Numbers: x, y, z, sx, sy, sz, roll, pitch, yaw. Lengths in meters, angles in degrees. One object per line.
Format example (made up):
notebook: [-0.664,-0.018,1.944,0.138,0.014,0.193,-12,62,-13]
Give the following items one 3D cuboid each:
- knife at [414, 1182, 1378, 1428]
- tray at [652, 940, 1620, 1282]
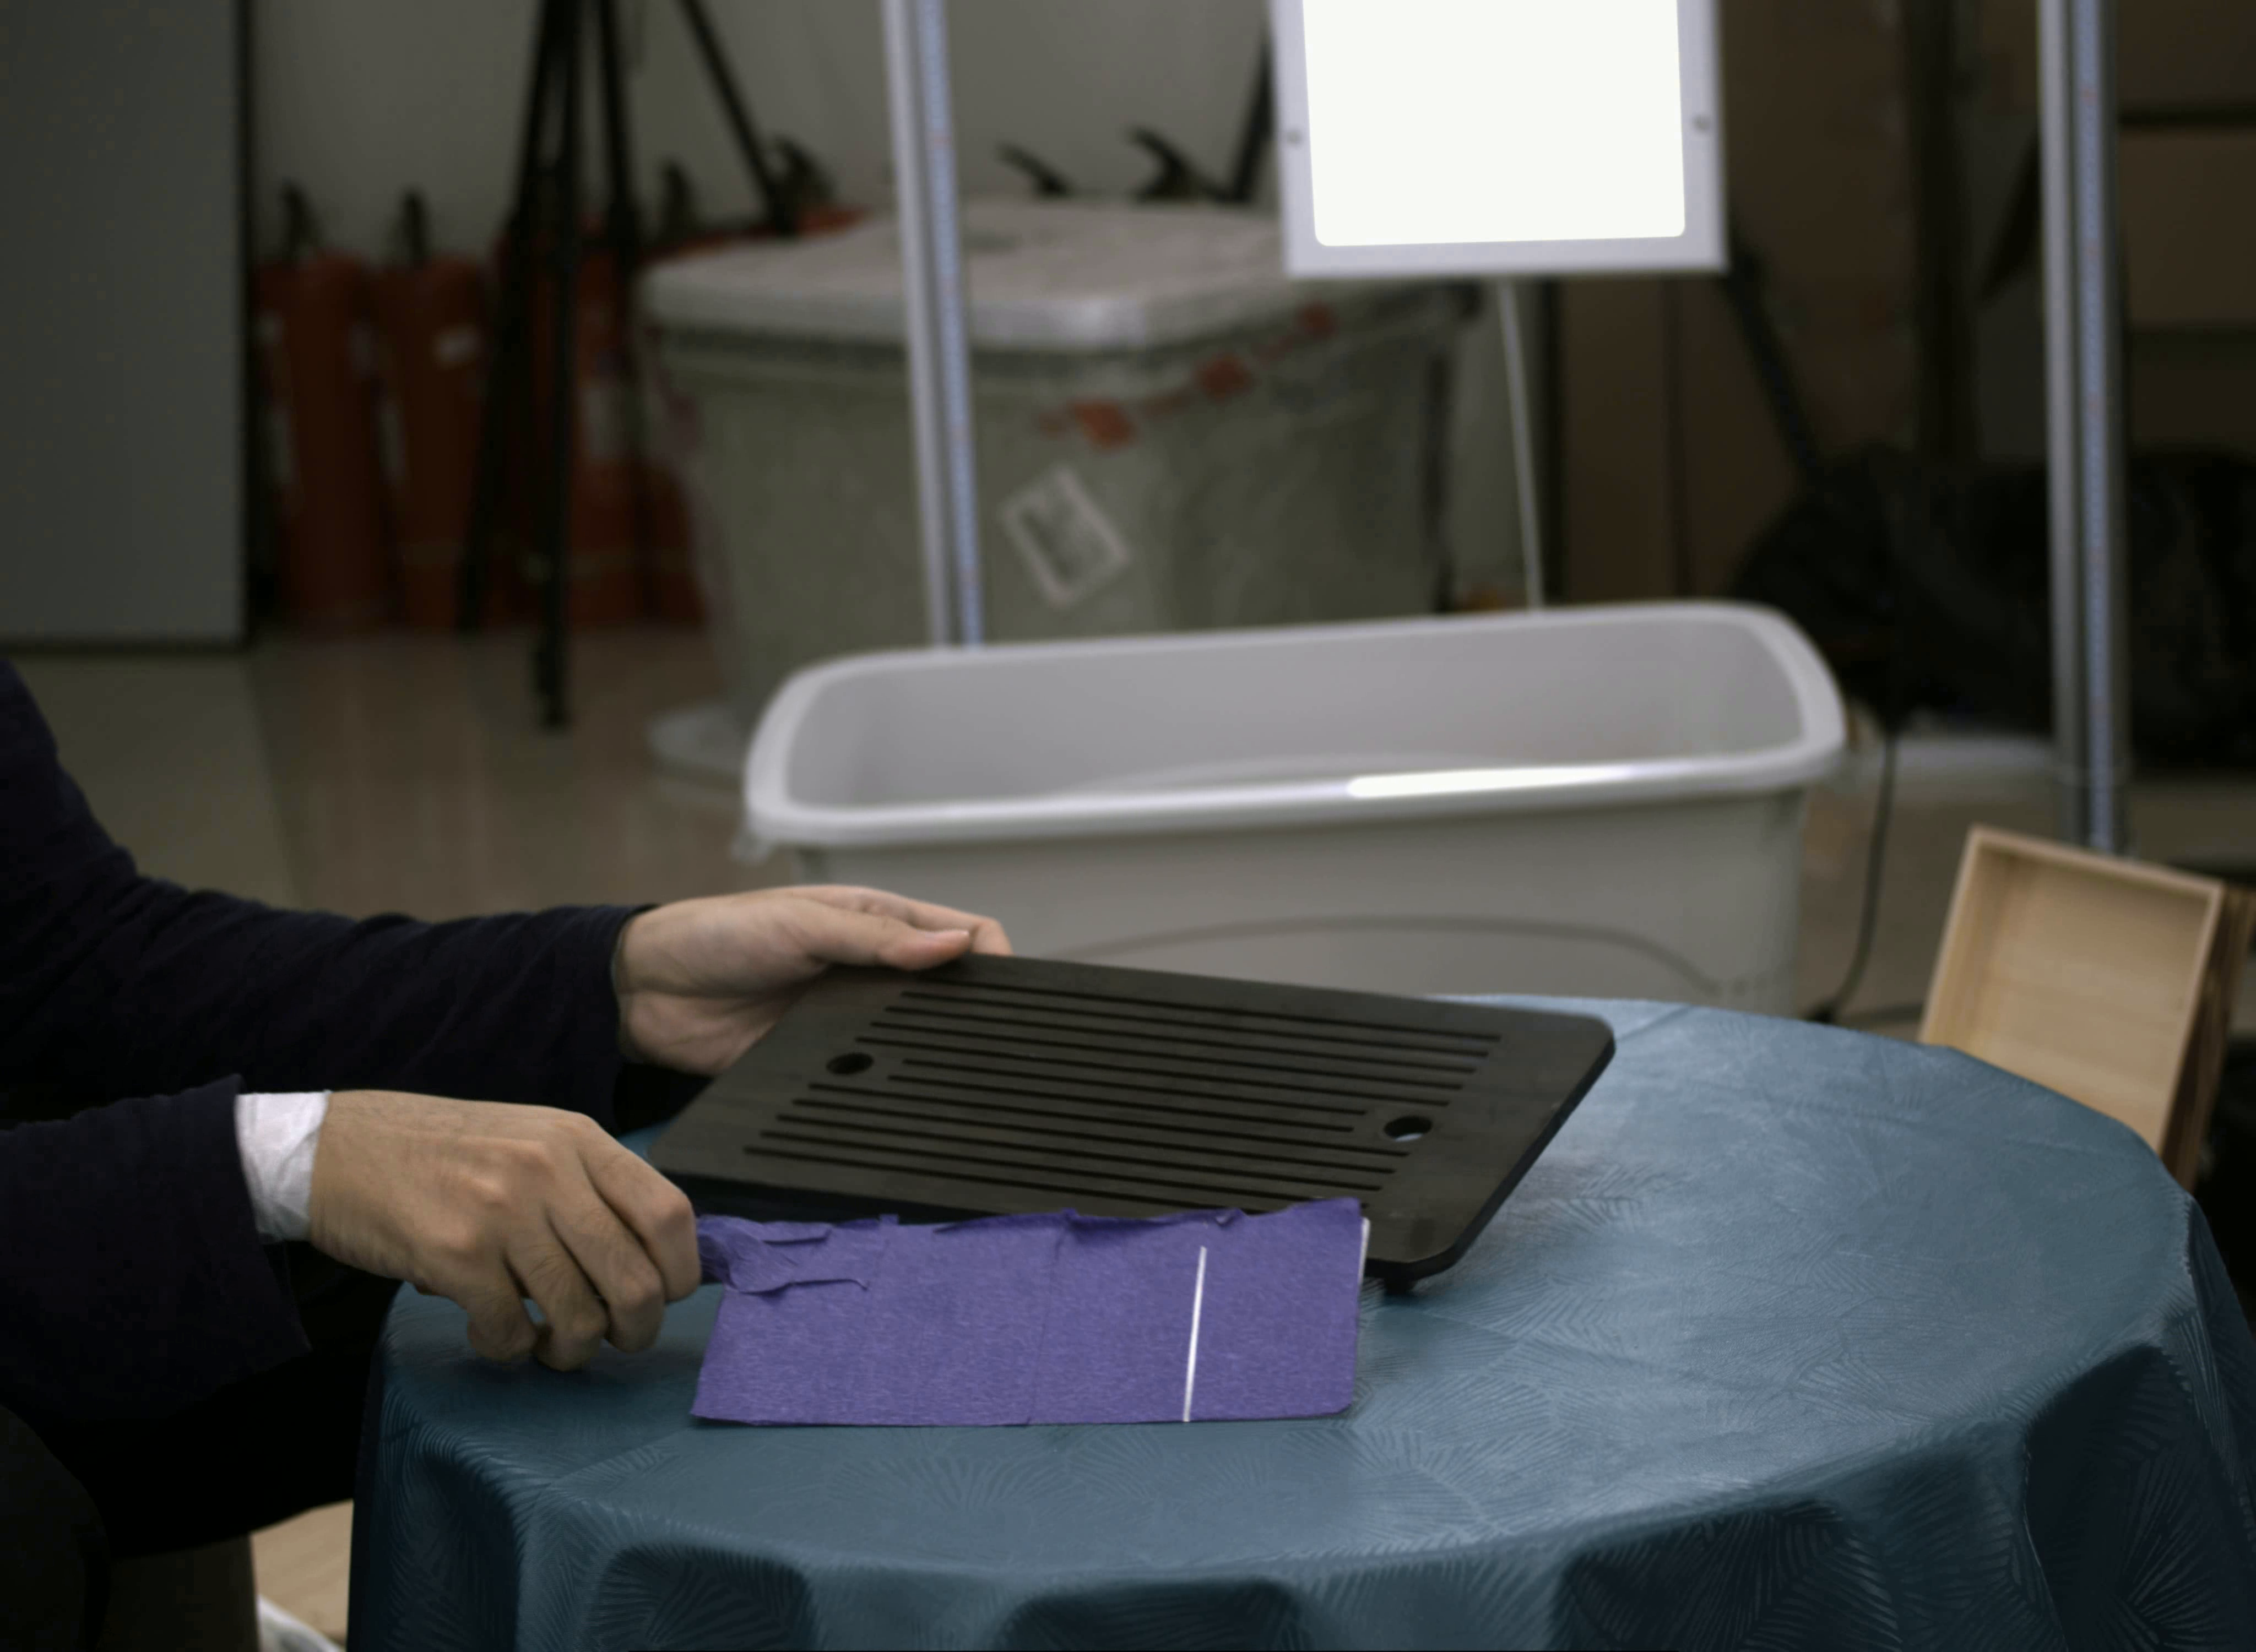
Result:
knife: [-0.078,0.151,1.728,0.318,0.032,0.103,-4,36,14]
tray: [0.003,0.096,1.897,0.311,0.018,0.167,4,29,28]
